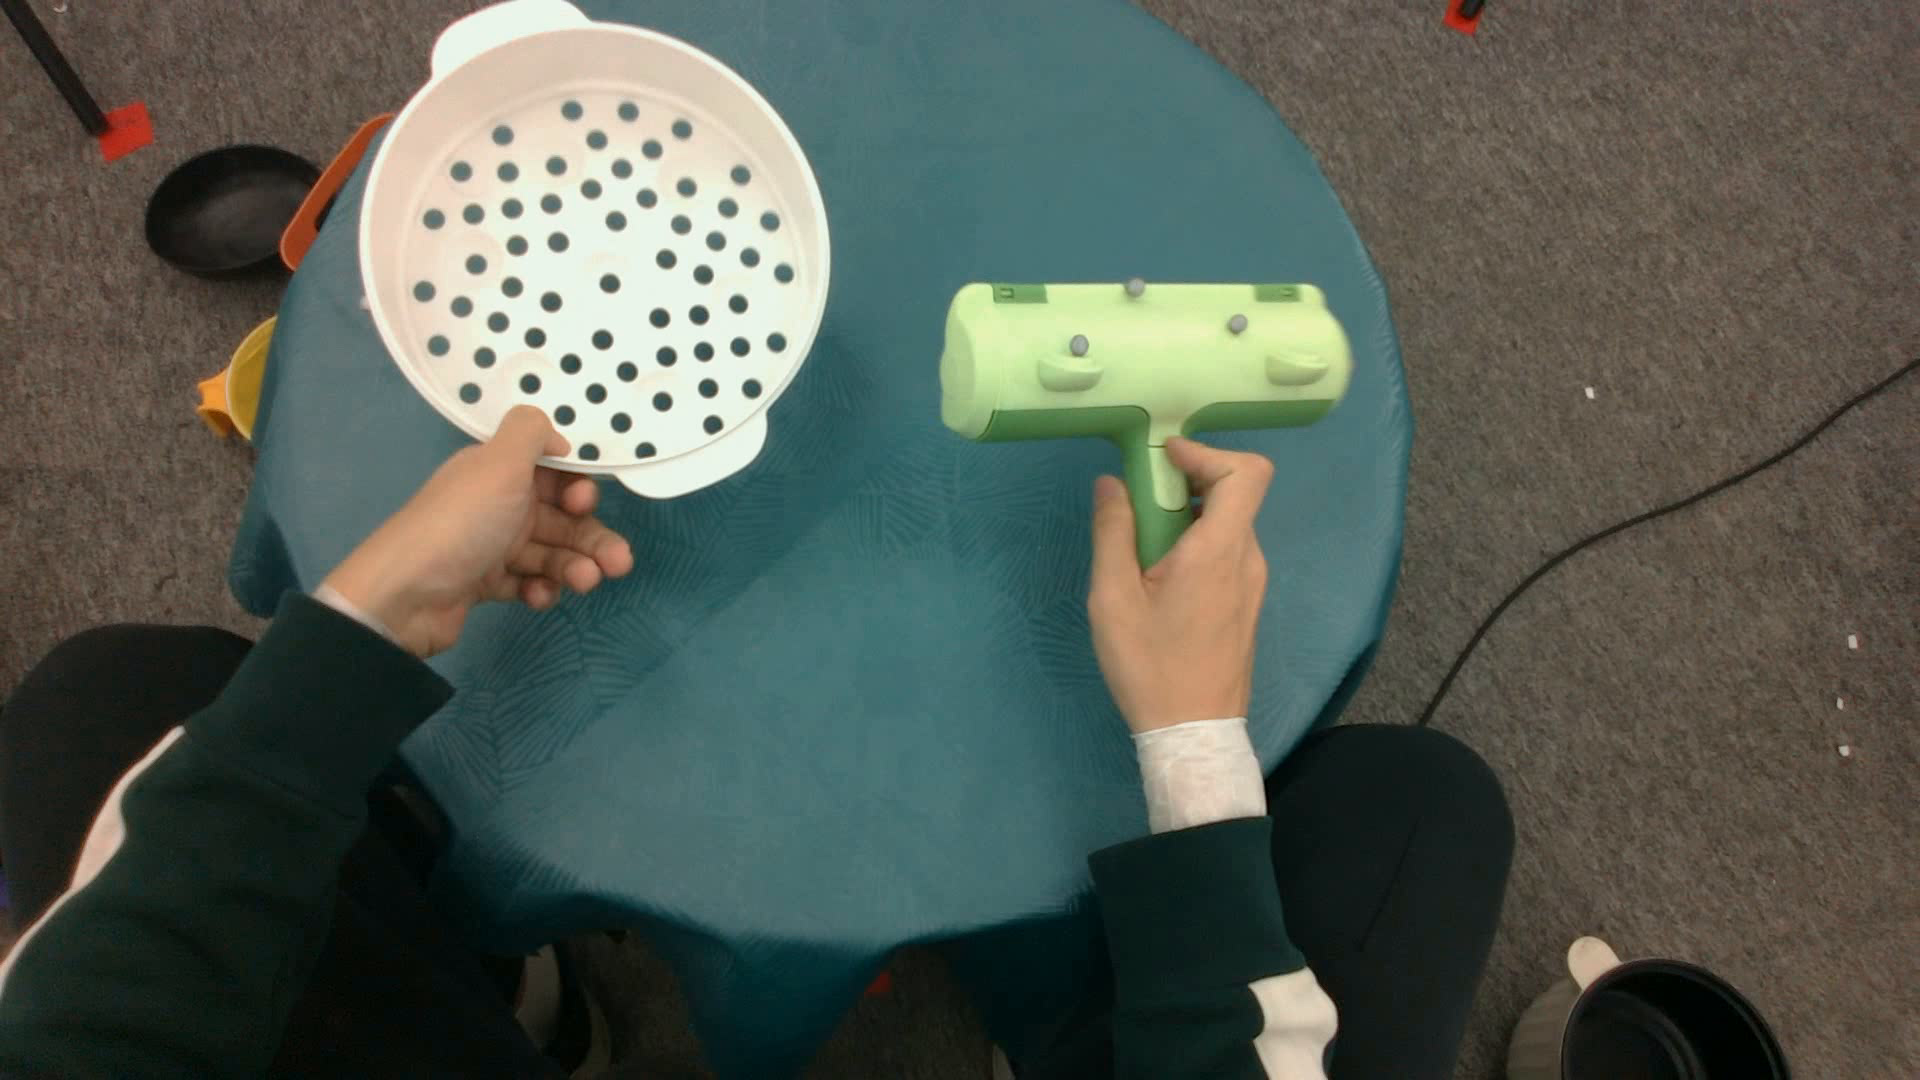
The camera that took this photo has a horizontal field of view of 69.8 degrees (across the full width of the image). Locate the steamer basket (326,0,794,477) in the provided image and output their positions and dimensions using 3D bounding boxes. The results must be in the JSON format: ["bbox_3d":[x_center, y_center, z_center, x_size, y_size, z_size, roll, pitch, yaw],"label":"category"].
[{"bbox_3d":[-0.182,-0.135,0.643,0.202,0.069,0.230,-26,89,-16],"label":"steamer basket"}]

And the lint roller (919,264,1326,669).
[{"bbox_3d":[0.088,-0.035,0.623,0.199,0.082,0.183,-5,82,-23],"label":"lint roller"}]
